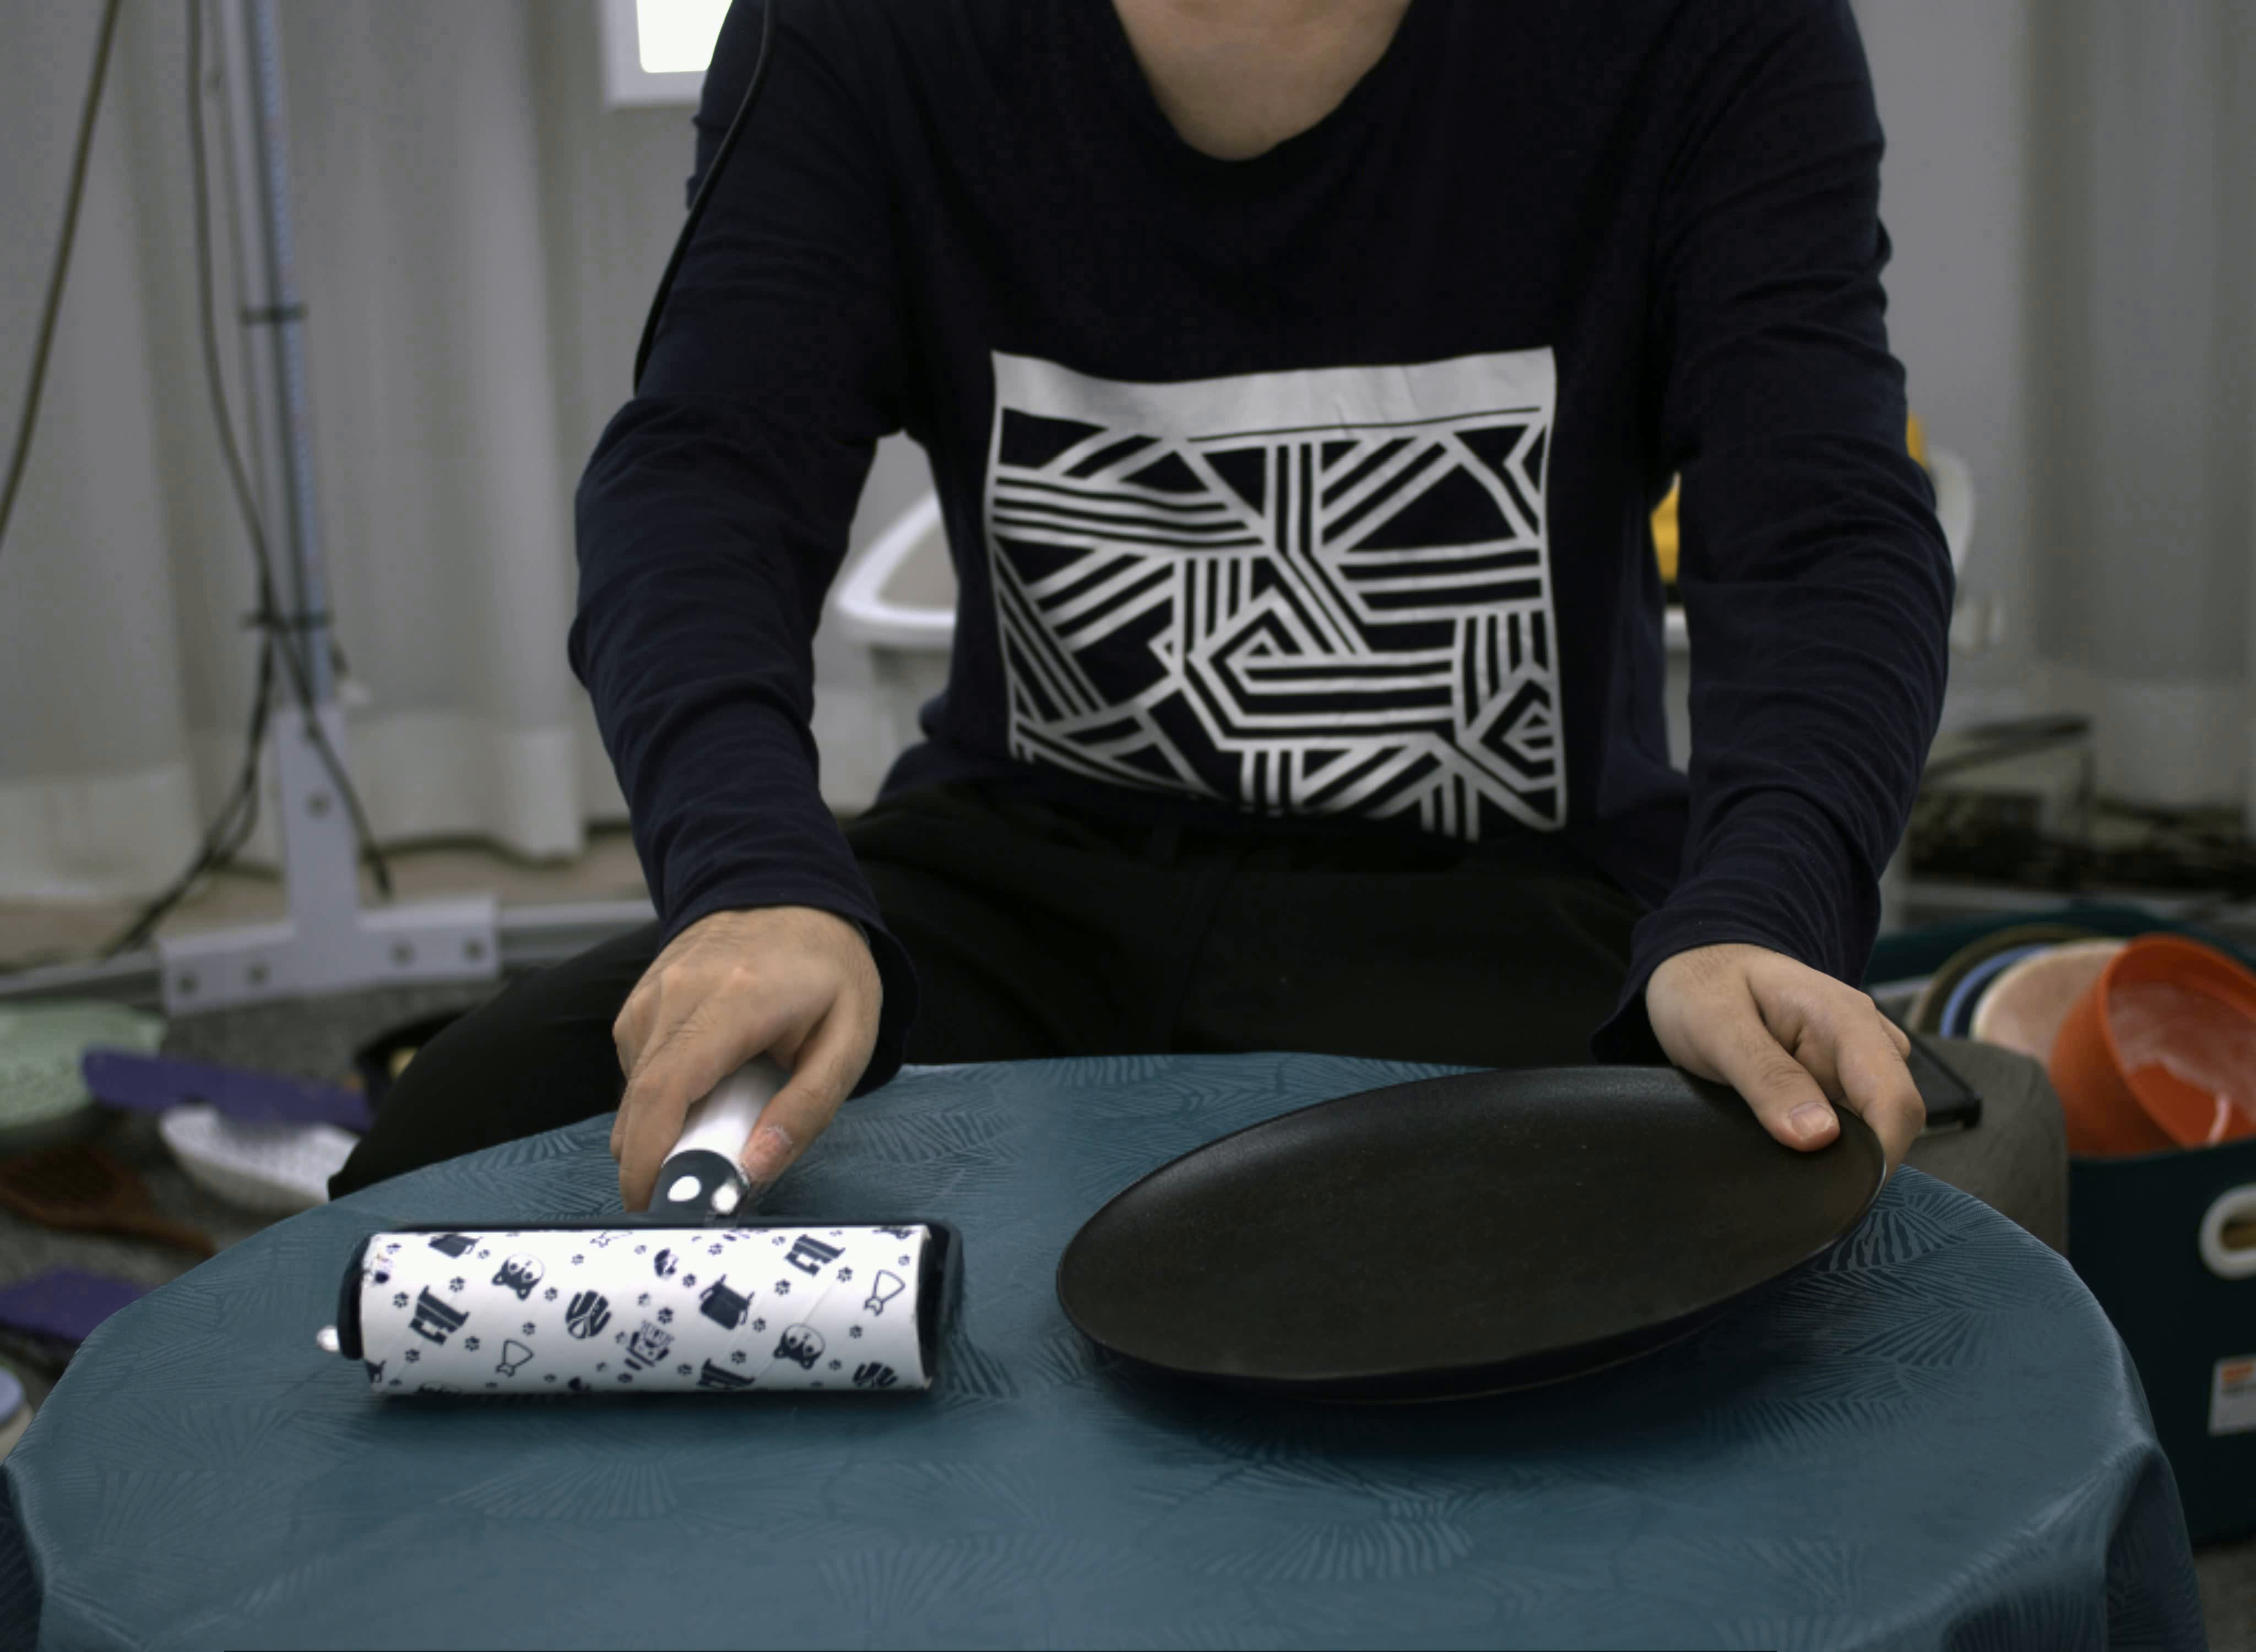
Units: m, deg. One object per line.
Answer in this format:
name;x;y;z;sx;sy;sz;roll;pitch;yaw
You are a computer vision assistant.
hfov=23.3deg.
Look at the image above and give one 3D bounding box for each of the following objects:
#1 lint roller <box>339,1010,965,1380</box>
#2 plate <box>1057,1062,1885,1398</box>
lint roller;-0.128;0.101;1.655;0.176;0.050;0.249;-1;20;5
plate;0.100;0.121;1.590;0.243;0.023;0.246;-10;15;2
